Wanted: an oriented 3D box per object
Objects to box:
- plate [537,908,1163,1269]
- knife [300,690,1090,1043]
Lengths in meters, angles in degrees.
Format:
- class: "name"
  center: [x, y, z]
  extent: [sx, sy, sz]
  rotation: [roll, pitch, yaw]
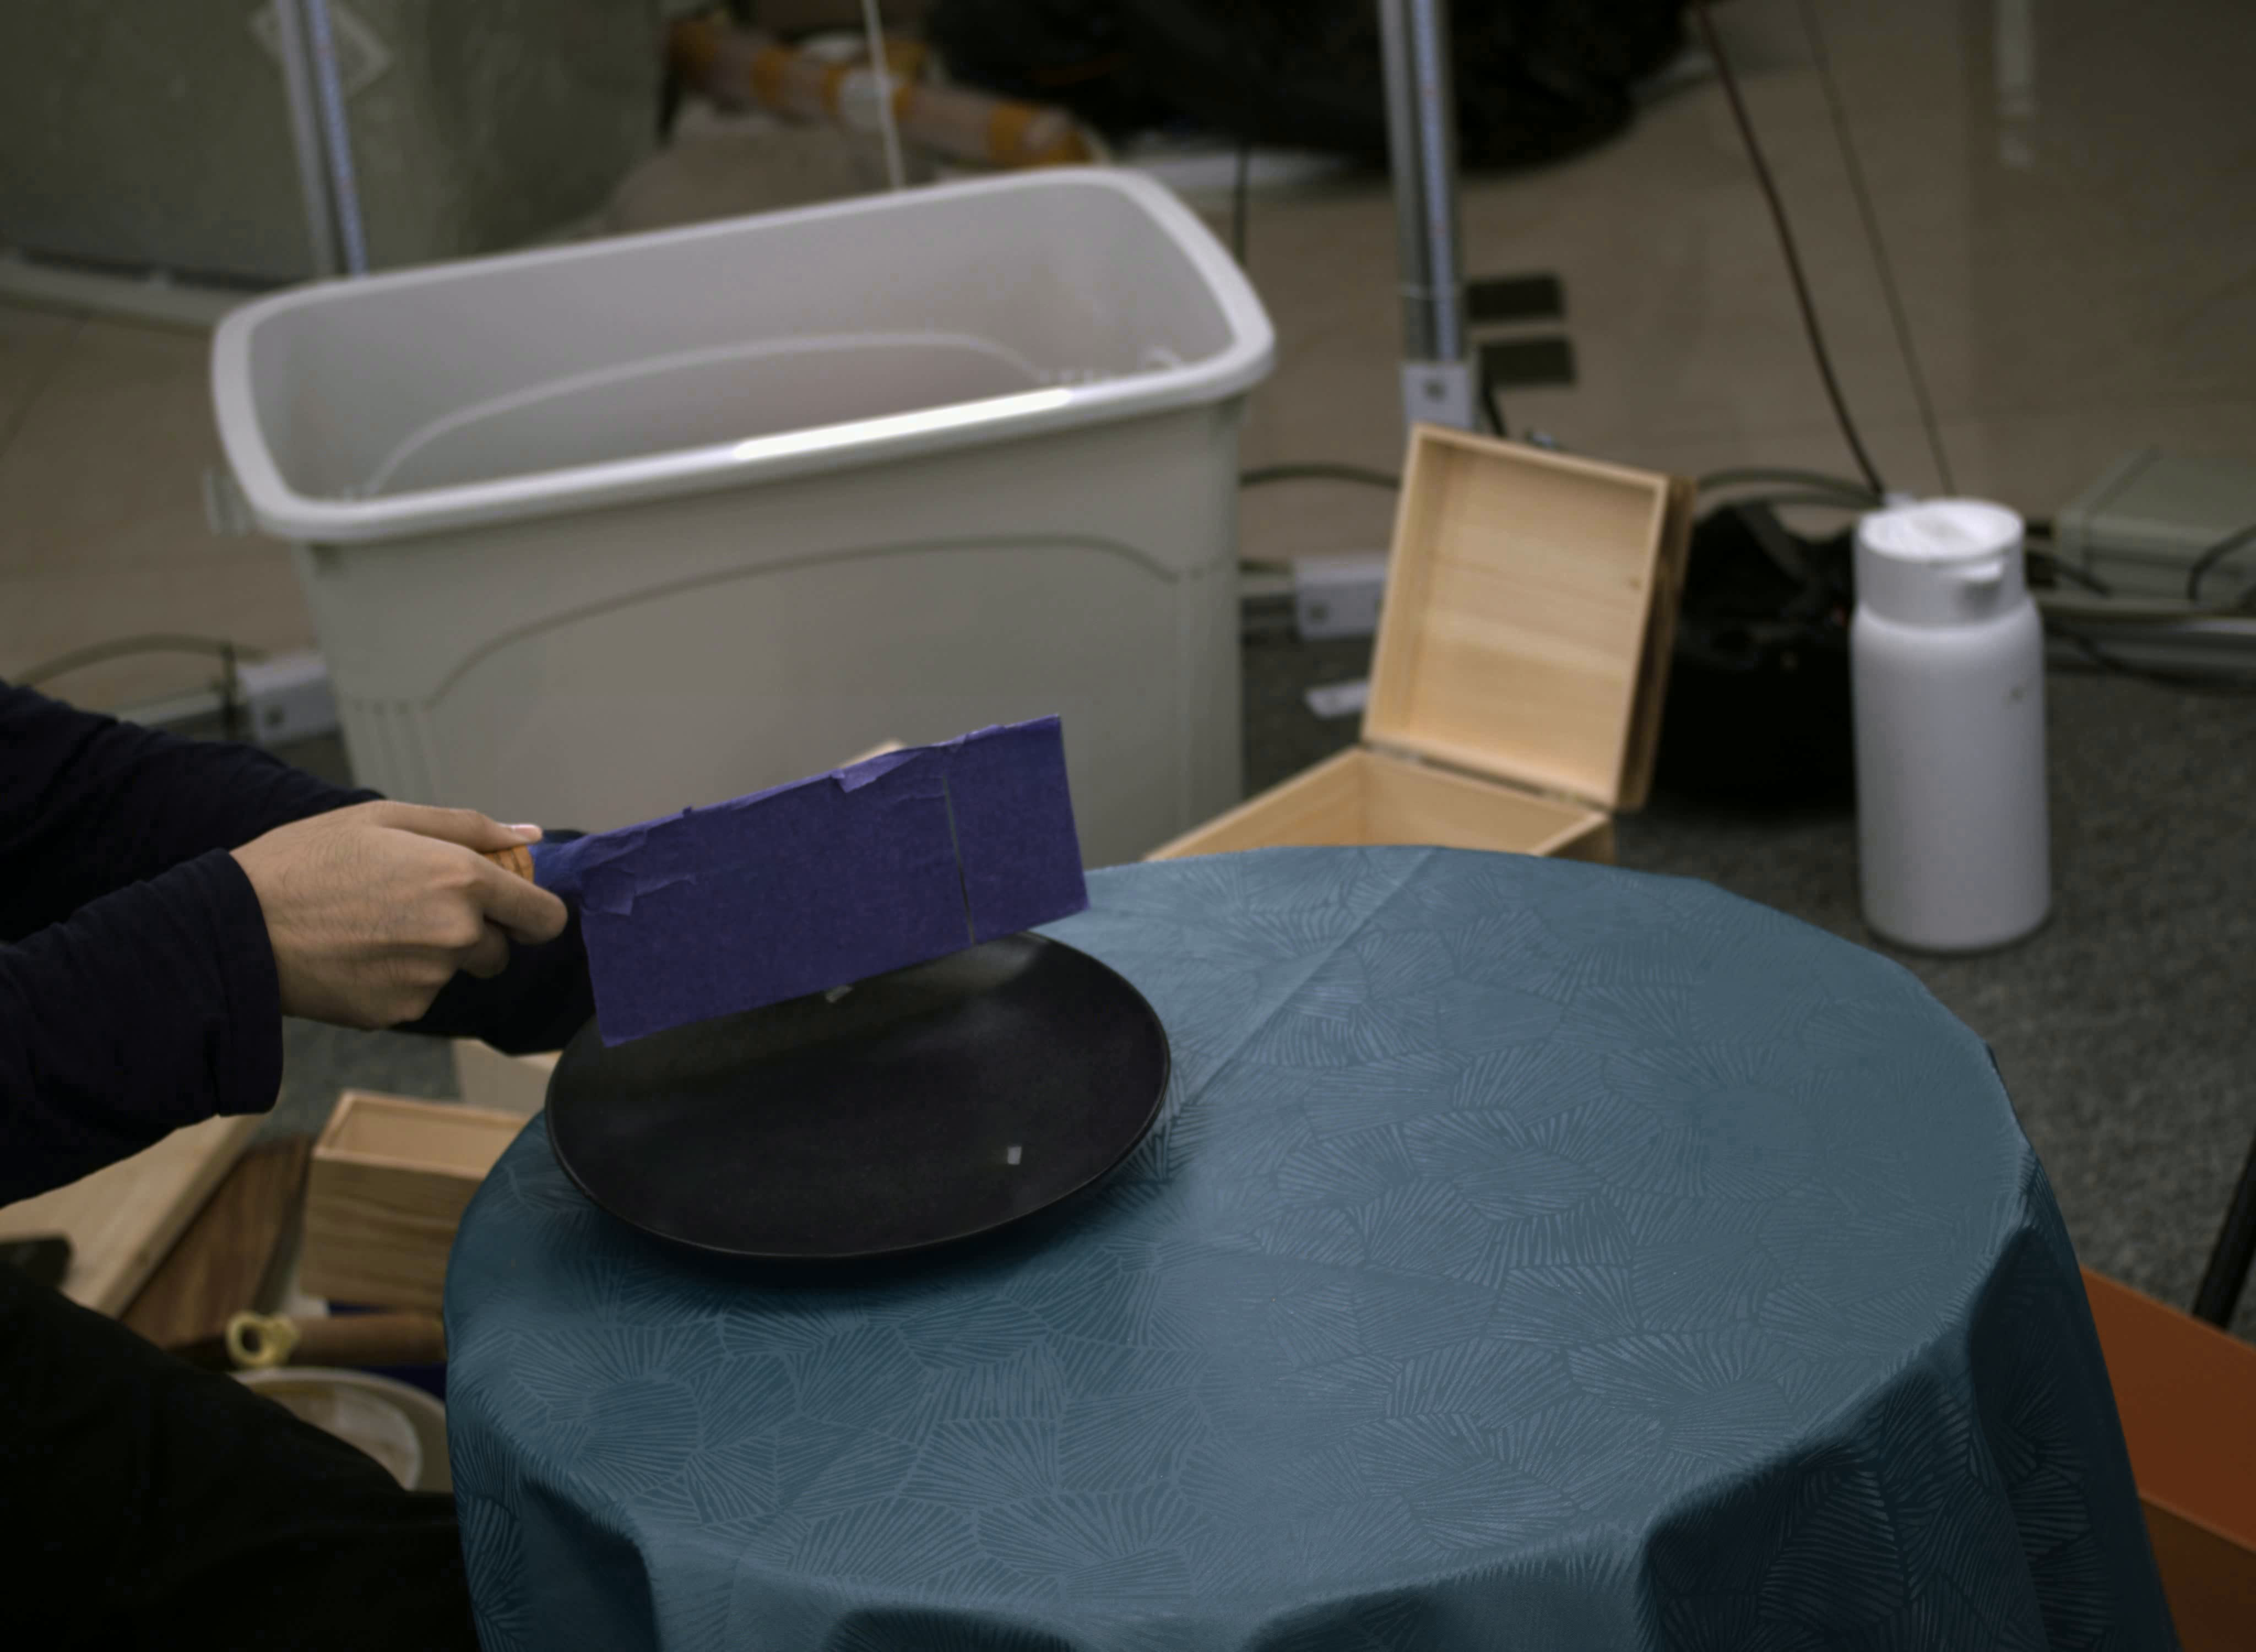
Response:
- class: "plate"
  center: [-0.107, 0.103, 2.198]
  extent: [0.244, 0.024, 0.240]
  rotation: [-3, 33, 2]
- class: "knife"
  center: [-0.162, 0.033, 2.205]
  extent: [0.314, 0.105, 0.032]
  rotation: [-15, 26, -15]
